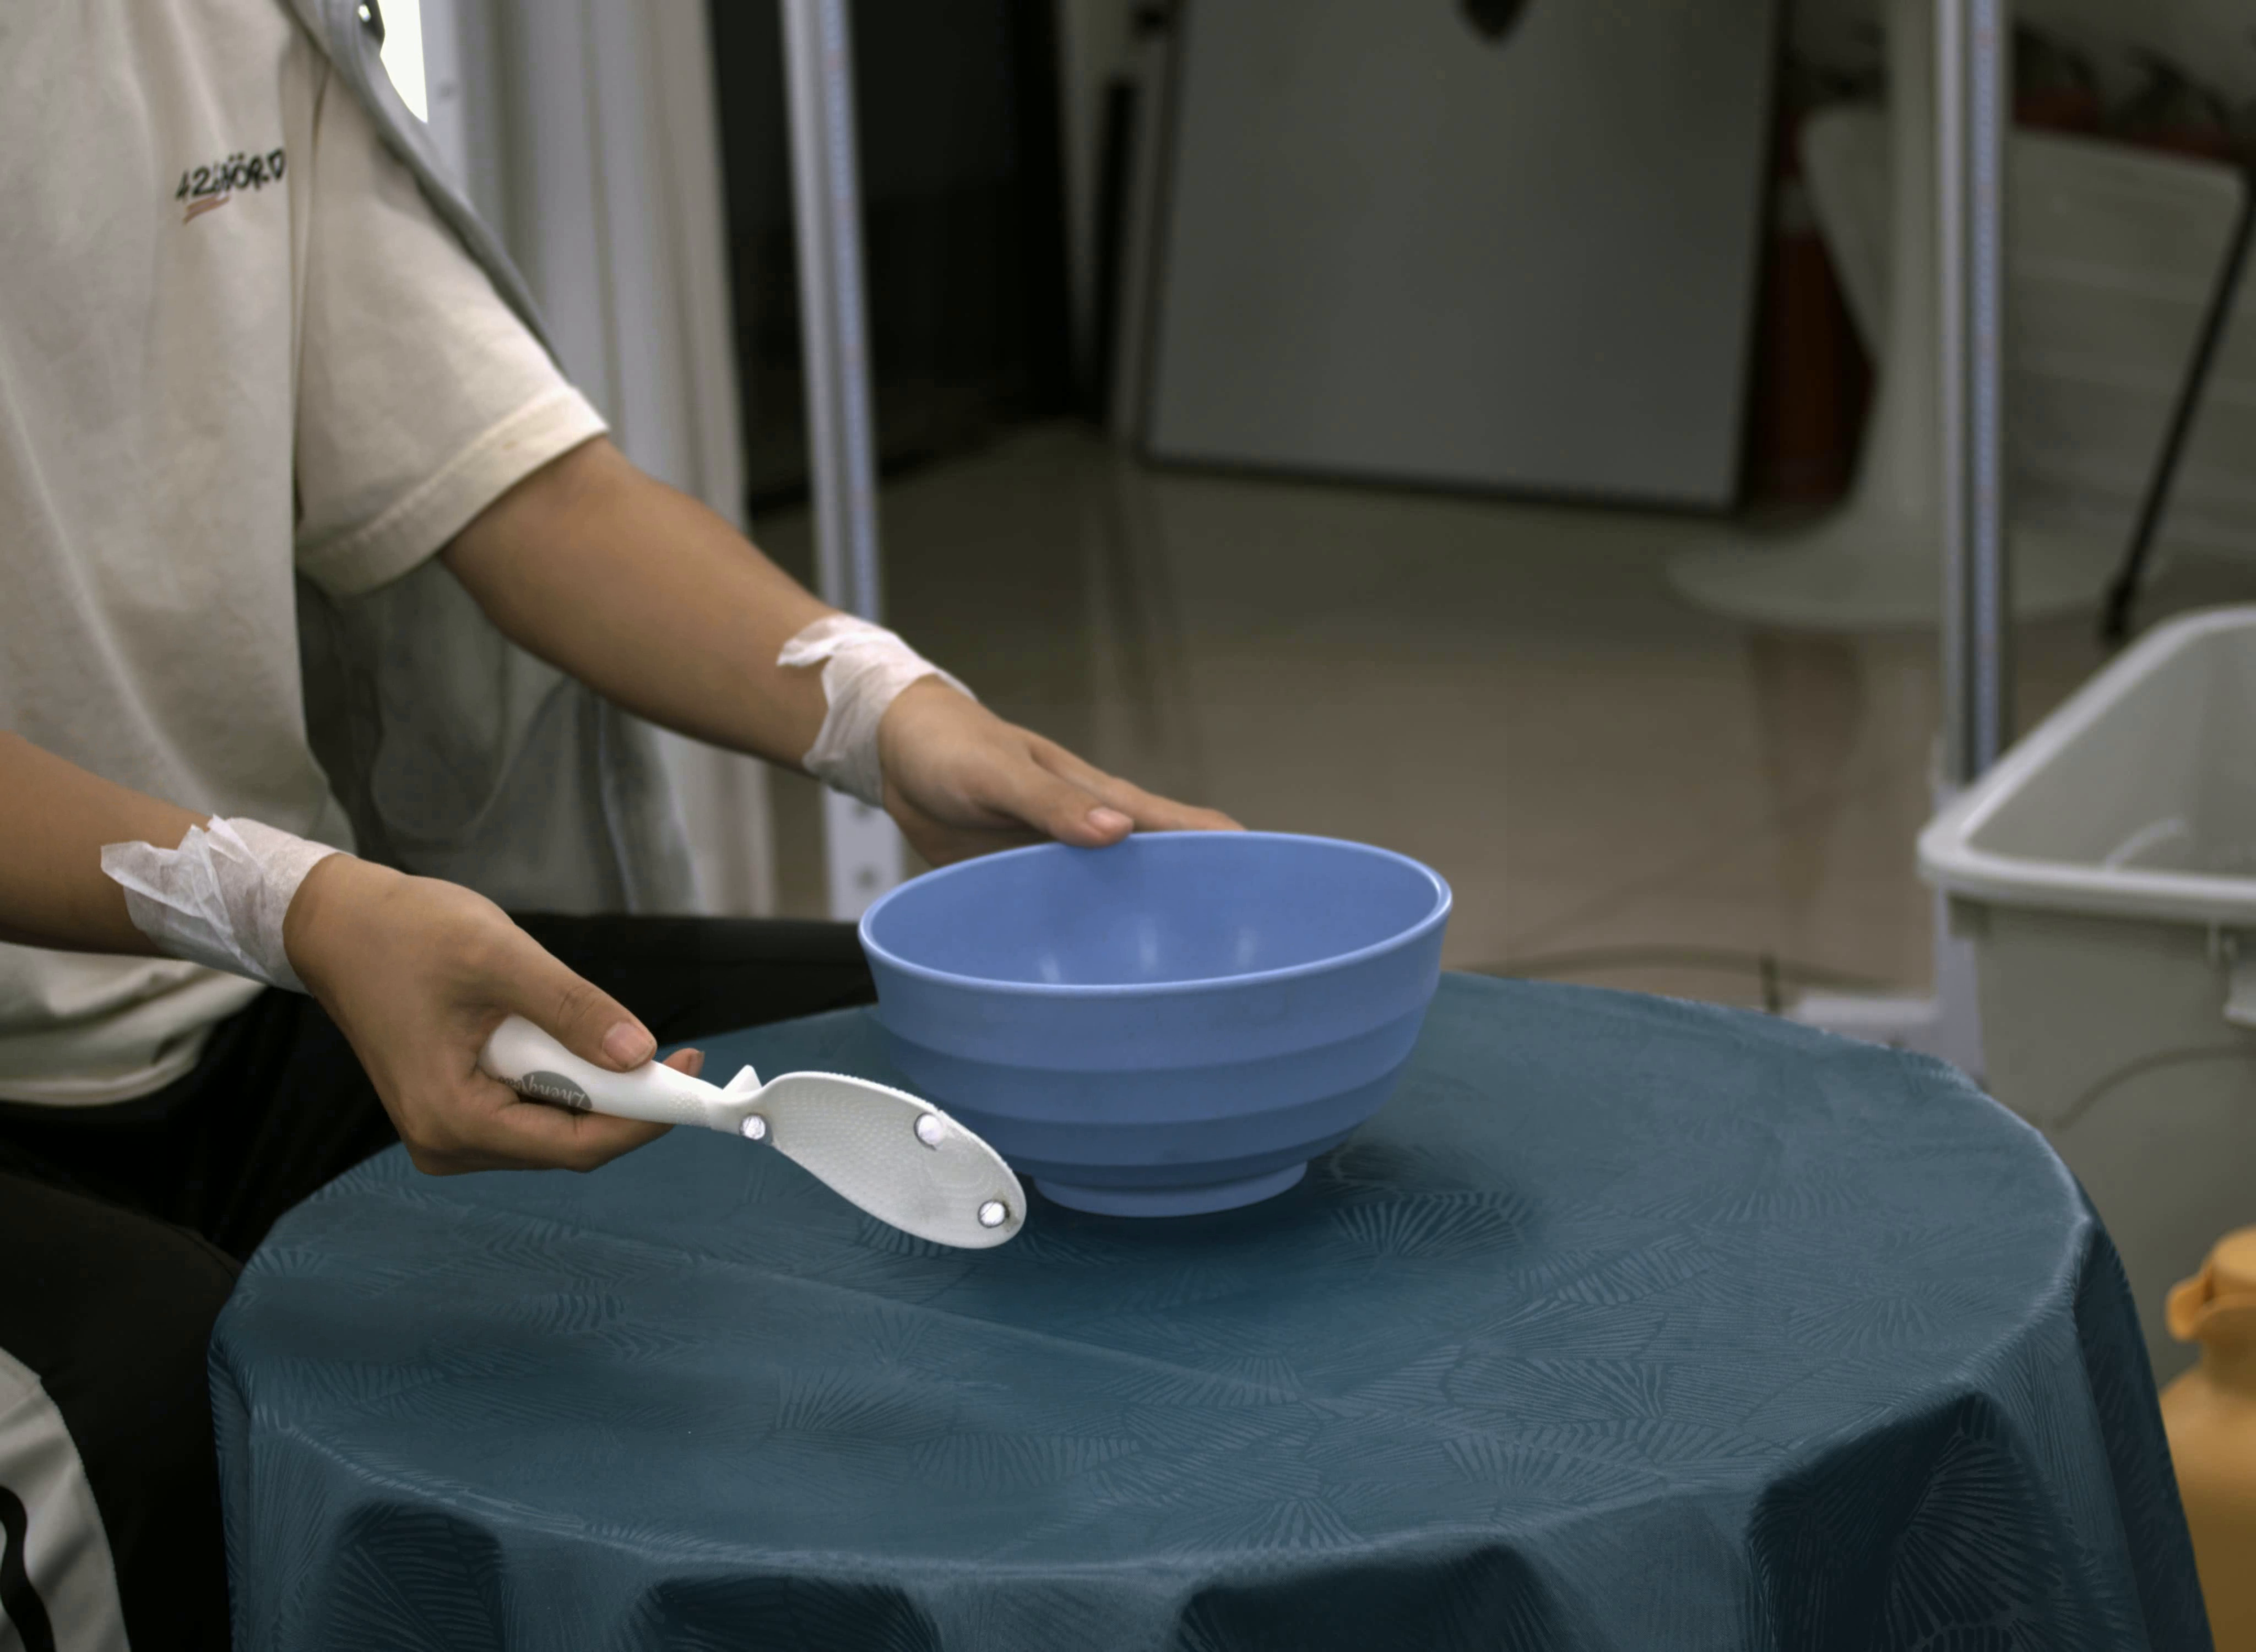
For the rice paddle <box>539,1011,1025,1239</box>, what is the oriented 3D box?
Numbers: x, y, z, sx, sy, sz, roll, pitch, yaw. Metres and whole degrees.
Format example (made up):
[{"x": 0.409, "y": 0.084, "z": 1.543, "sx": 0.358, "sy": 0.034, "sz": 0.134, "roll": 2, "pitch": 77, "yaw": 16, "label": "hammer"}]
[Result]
[{"x": -0.103, "y": 0.084, "z": 1.608, "sx": 0.207, "sy": 0.069, "sz": 0.029, "roll": 9, "pitch": 37, "yaw": 47, "label": "rice paddle"}]

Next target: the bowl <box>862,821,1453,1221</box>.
[{"x": 0.012, "y": 0.070, "z": 1.776, "sx": 0.194, "sy": 0.096, "sz": 0.197, "roll": -3, "pitch": 16, "yaw": 0, "label": "bowl"}]
